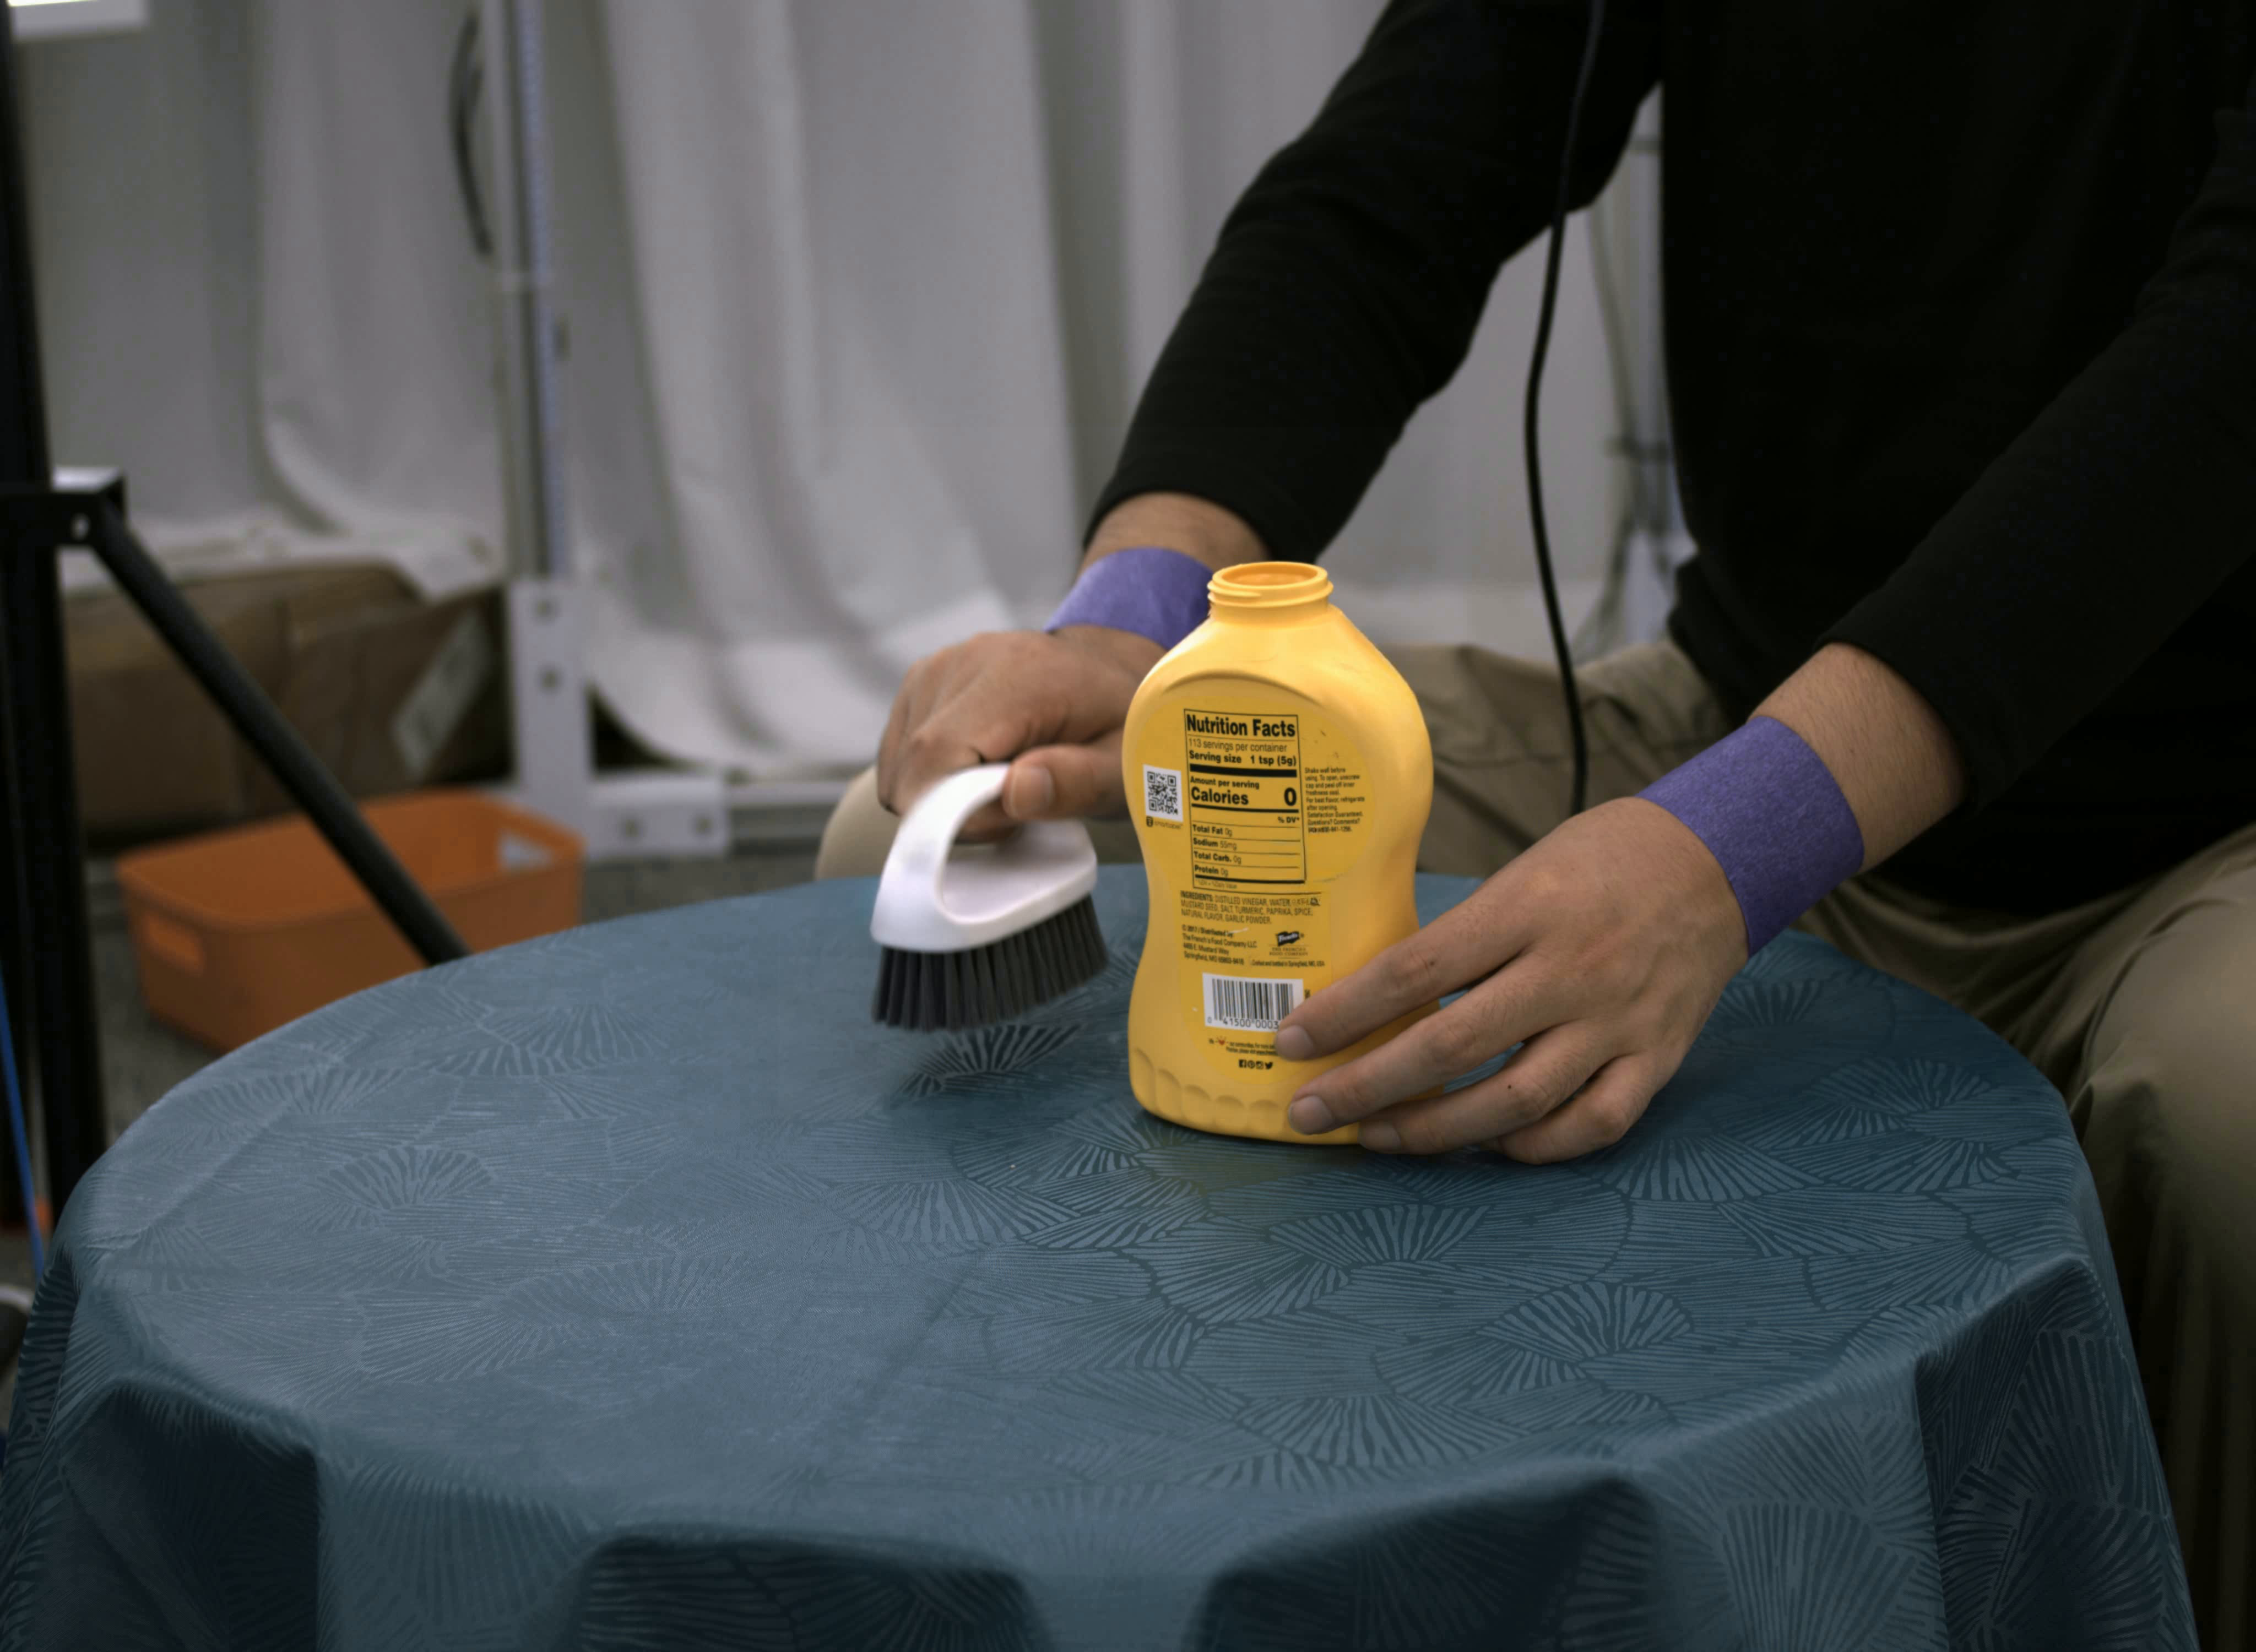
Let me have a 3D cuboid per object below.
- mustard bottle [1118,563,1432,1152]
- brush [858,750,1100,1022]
[{"bbox_3d":[0.043,0.008,1.597,0.099,0.172,0.058,4,13,25],"label":"mustard bottle"},{"bbox_3d":[-0.047,0.014,1.675,0.051,0.072,0.097,8,18,33],"label":"brush"}]
